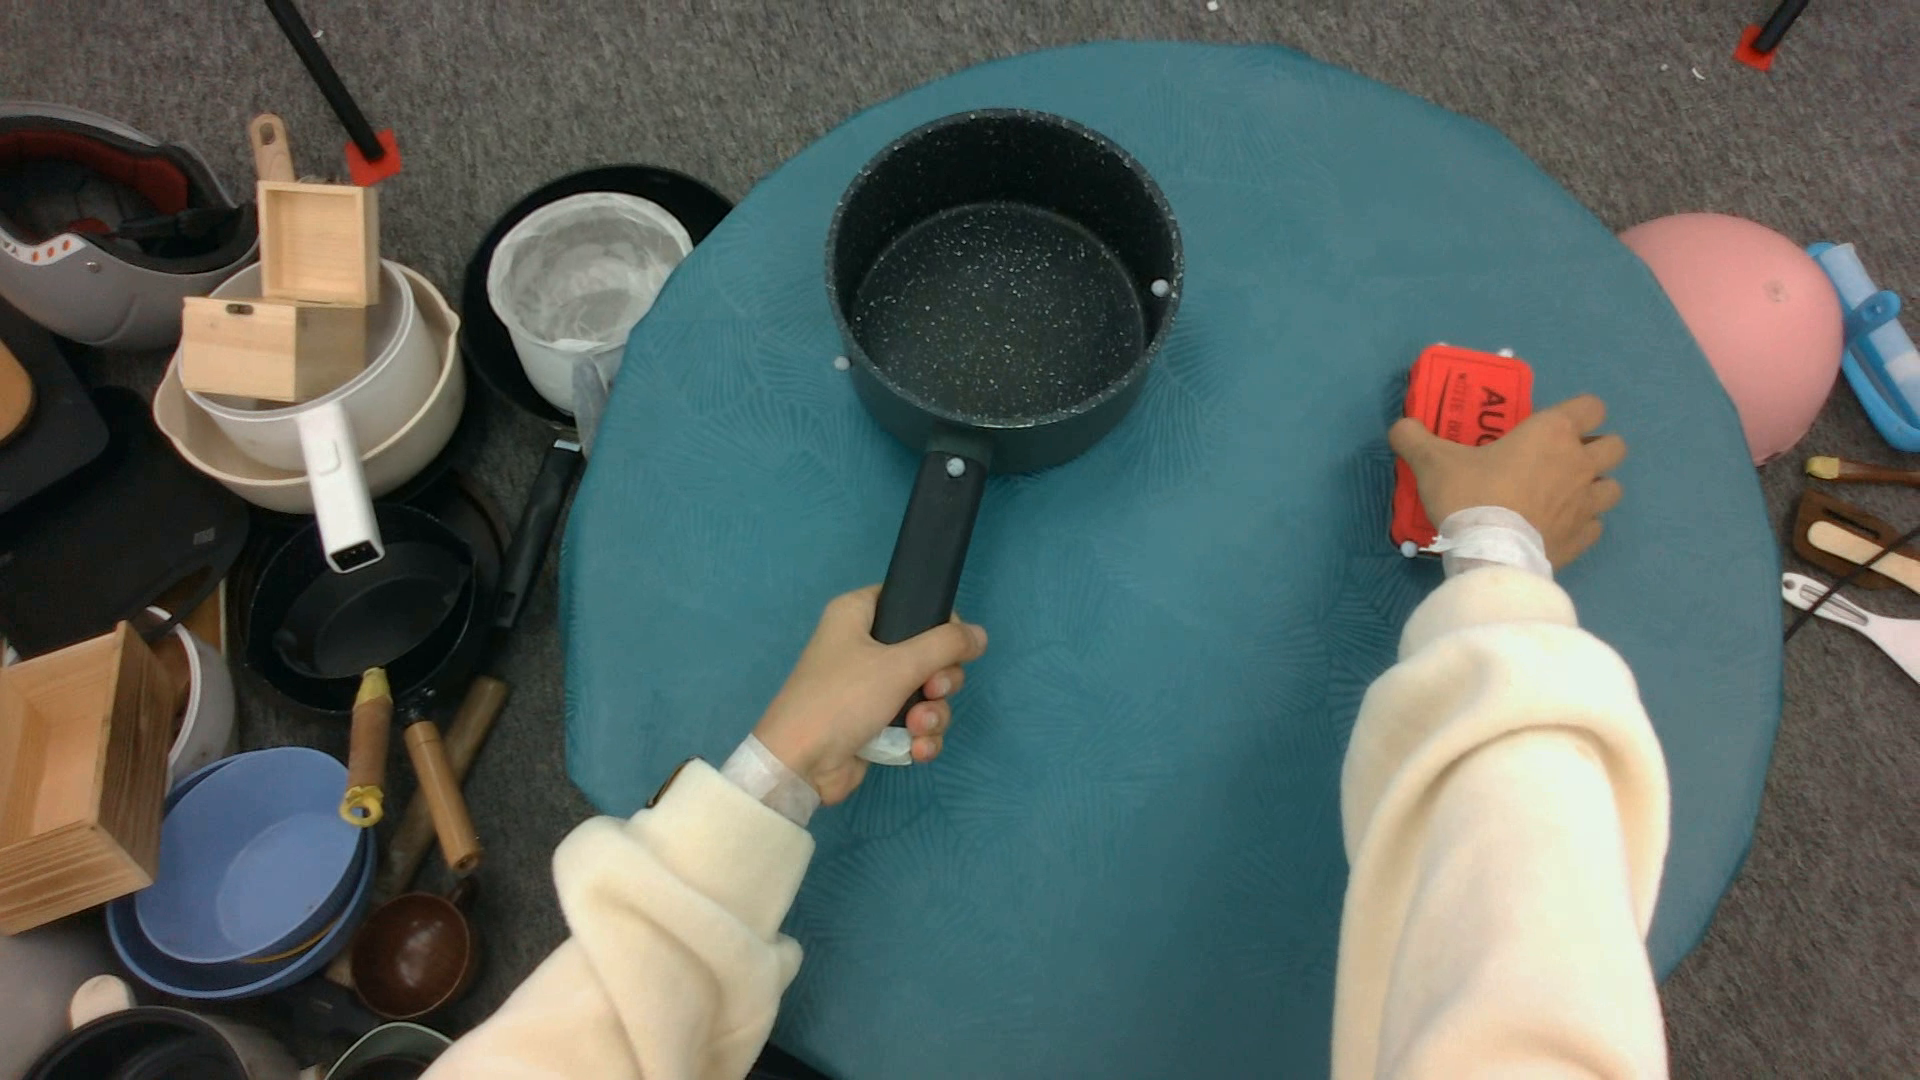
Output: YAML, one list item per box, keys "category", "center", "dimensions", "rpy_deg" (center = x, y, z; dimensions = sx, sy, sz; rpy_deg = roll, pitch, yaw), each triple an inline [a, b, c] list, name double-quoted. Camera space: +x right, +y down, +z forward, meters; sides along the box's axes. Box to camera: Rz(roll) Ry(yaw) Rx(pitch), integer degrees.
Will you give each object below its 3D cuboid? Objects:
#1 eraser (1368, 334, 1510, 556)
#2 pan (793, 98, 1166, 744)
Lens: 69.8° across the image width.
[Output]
- category: "eraser"
  center: [0.242, -0.048, 0.694]
  dimensions: [0.059, 0.023, 0.108]
  rpy_deg: [12, 70, 2]
- category: "pan"
  center: [-0.009, -0.055, 0.657]
  dimensions: [0.172, 0.086, 0.330]
  rpy_deg: [15, 69, 4]
